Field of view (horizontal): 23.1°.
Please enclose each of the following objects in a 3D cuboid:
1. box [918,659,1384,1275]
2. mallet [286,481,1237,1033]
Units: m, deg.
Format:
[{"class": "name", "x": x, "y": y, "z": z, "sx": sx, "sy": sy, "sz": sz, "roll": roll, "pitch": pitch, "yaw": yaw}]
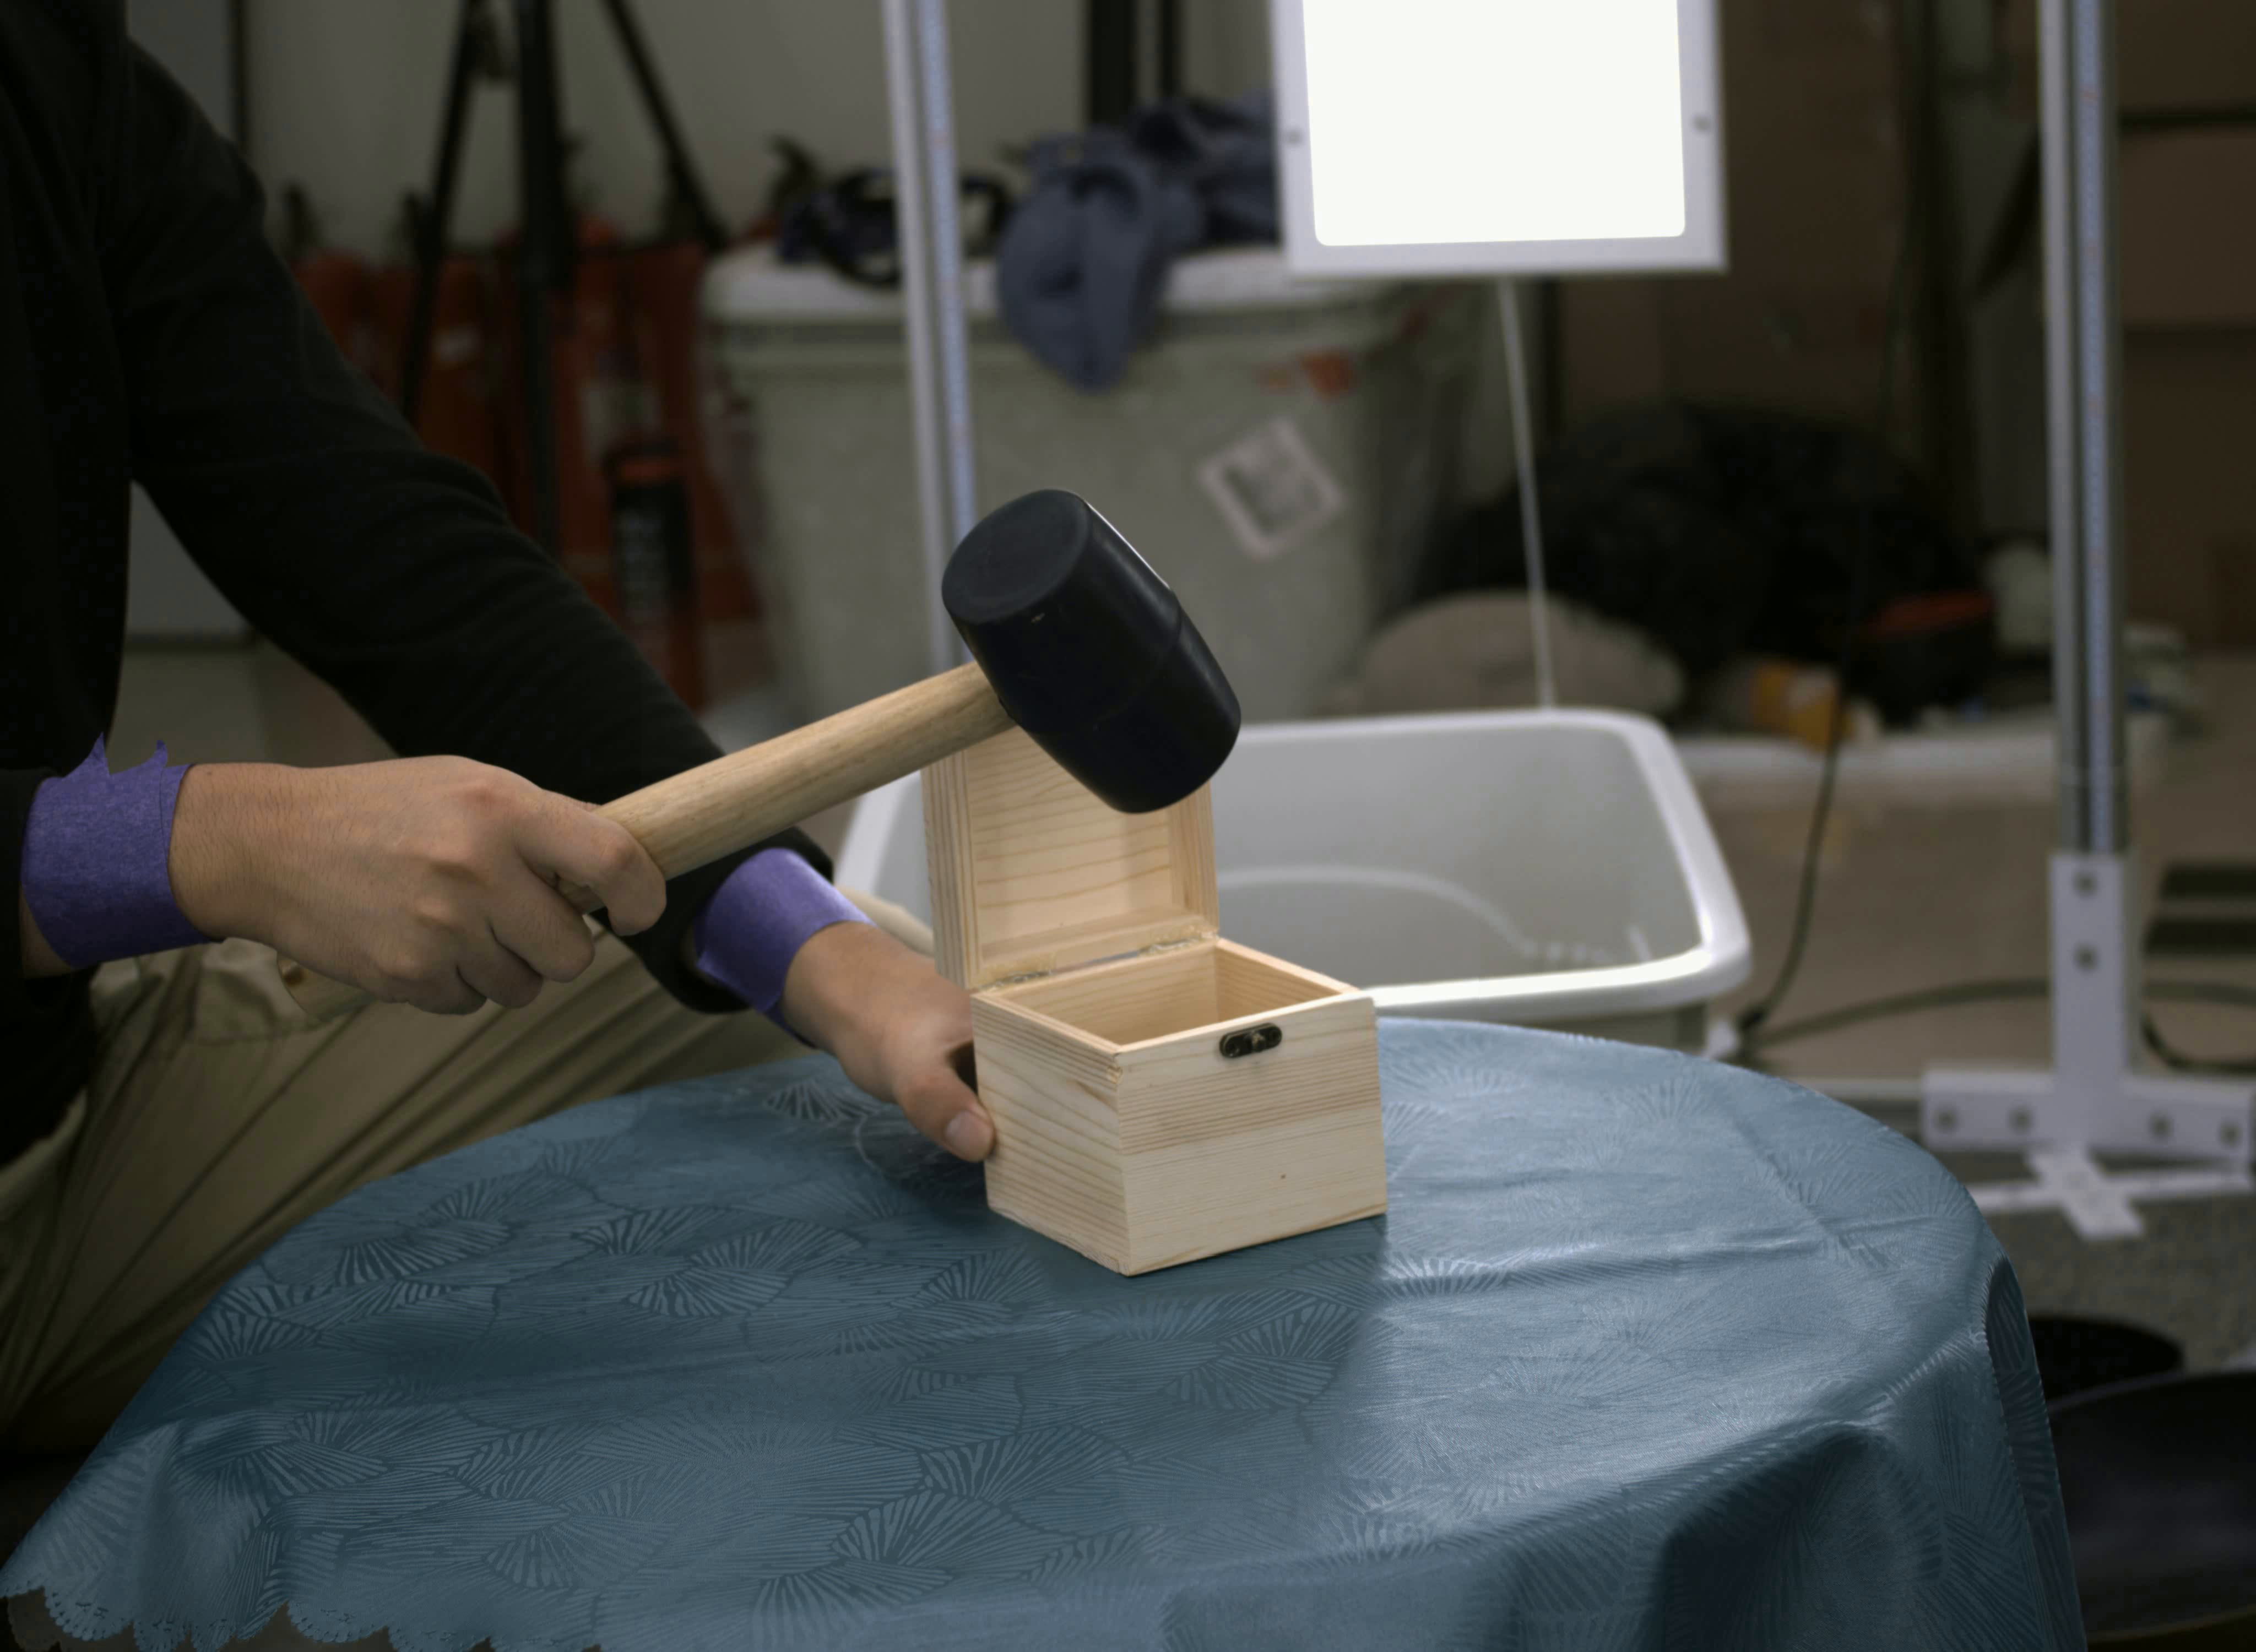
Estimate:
[{"class": "box", "x": 0.008, "y": 0.043, "z": 1.860, "sx": 0.100, "sy": 0.185, "sz": 0.136, "roll": -11, "pitch": 12, "yaw": -26}, {"class": "mallet", "x": -0.130, "y": -0.011, "z": 1.795, "sx": 0.345, "sy": 0.101, "sz": 0.064, "roll": -21, "pitch": 35, "yaw": 27}]
